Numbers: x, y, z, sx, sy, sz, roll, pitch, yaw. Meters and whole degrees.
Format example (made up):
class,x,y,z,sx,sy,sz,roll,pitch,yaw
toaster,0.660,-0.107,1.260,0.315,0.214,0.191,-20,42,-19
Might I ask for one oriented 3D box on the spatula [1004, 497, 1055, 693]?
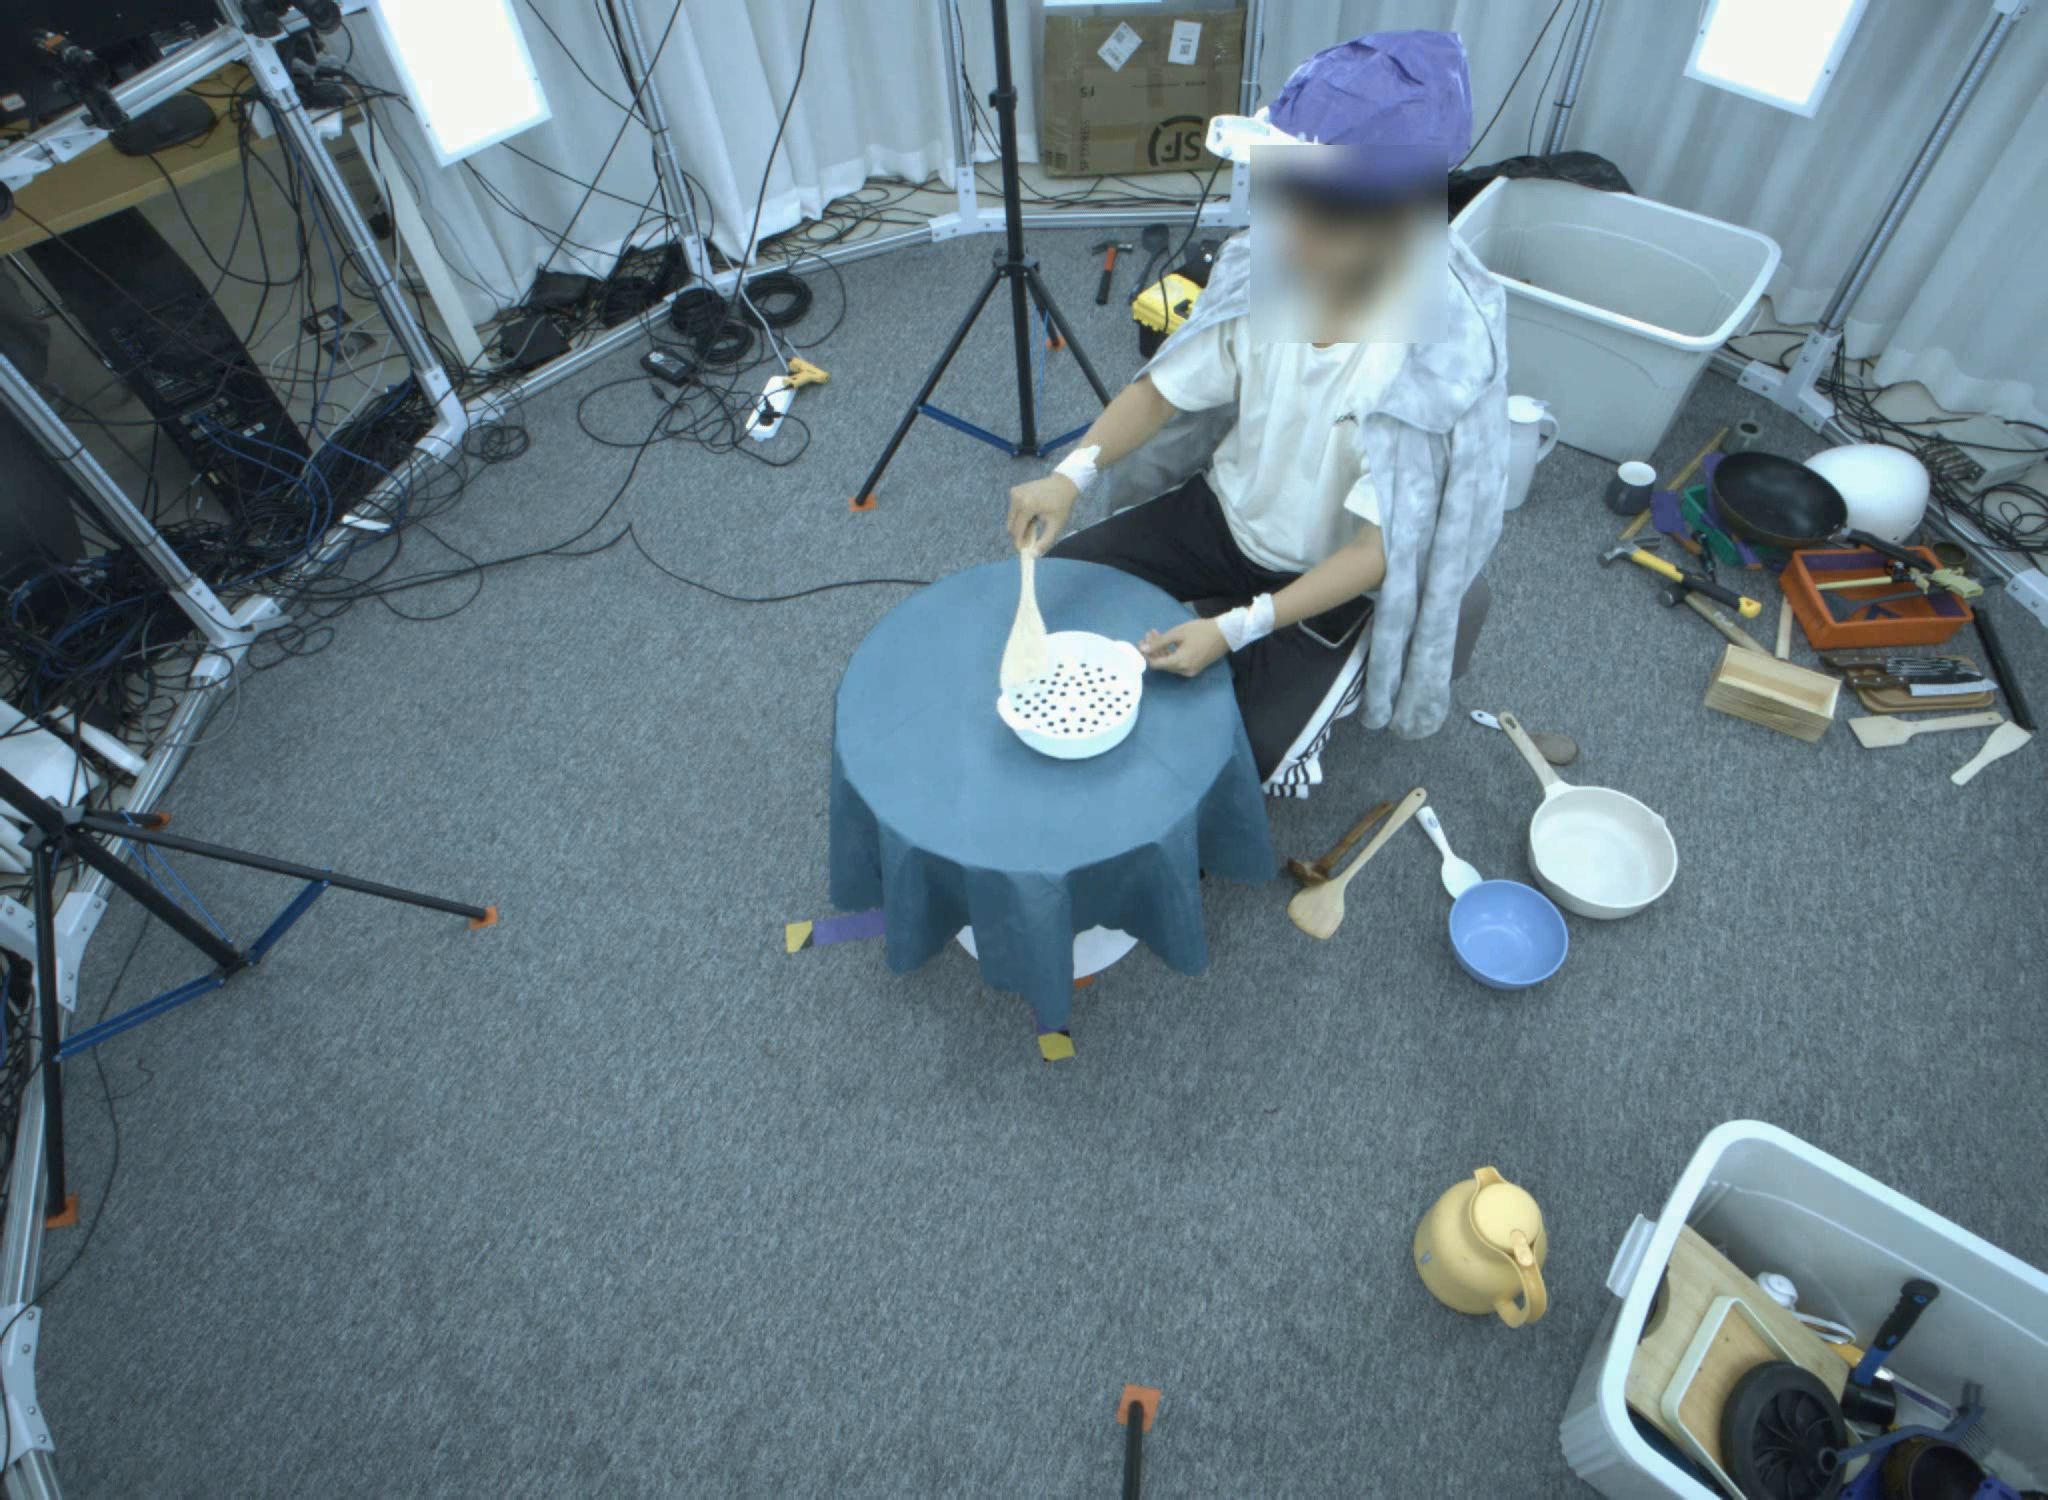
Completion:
class,x,y,z,sx,sy,sz,roll,pitch,yaw
spatula,0.007,-0.234,1.796,0.079,0.017,0.325,-9,67,21

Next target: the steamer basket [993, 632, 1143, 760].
class,x,y,z,sx,sy,sz,roll,pitch,yaw
steamer basket,0.065,-0.077,1.801,0.232,0.070,0.198,-26,59,-16
